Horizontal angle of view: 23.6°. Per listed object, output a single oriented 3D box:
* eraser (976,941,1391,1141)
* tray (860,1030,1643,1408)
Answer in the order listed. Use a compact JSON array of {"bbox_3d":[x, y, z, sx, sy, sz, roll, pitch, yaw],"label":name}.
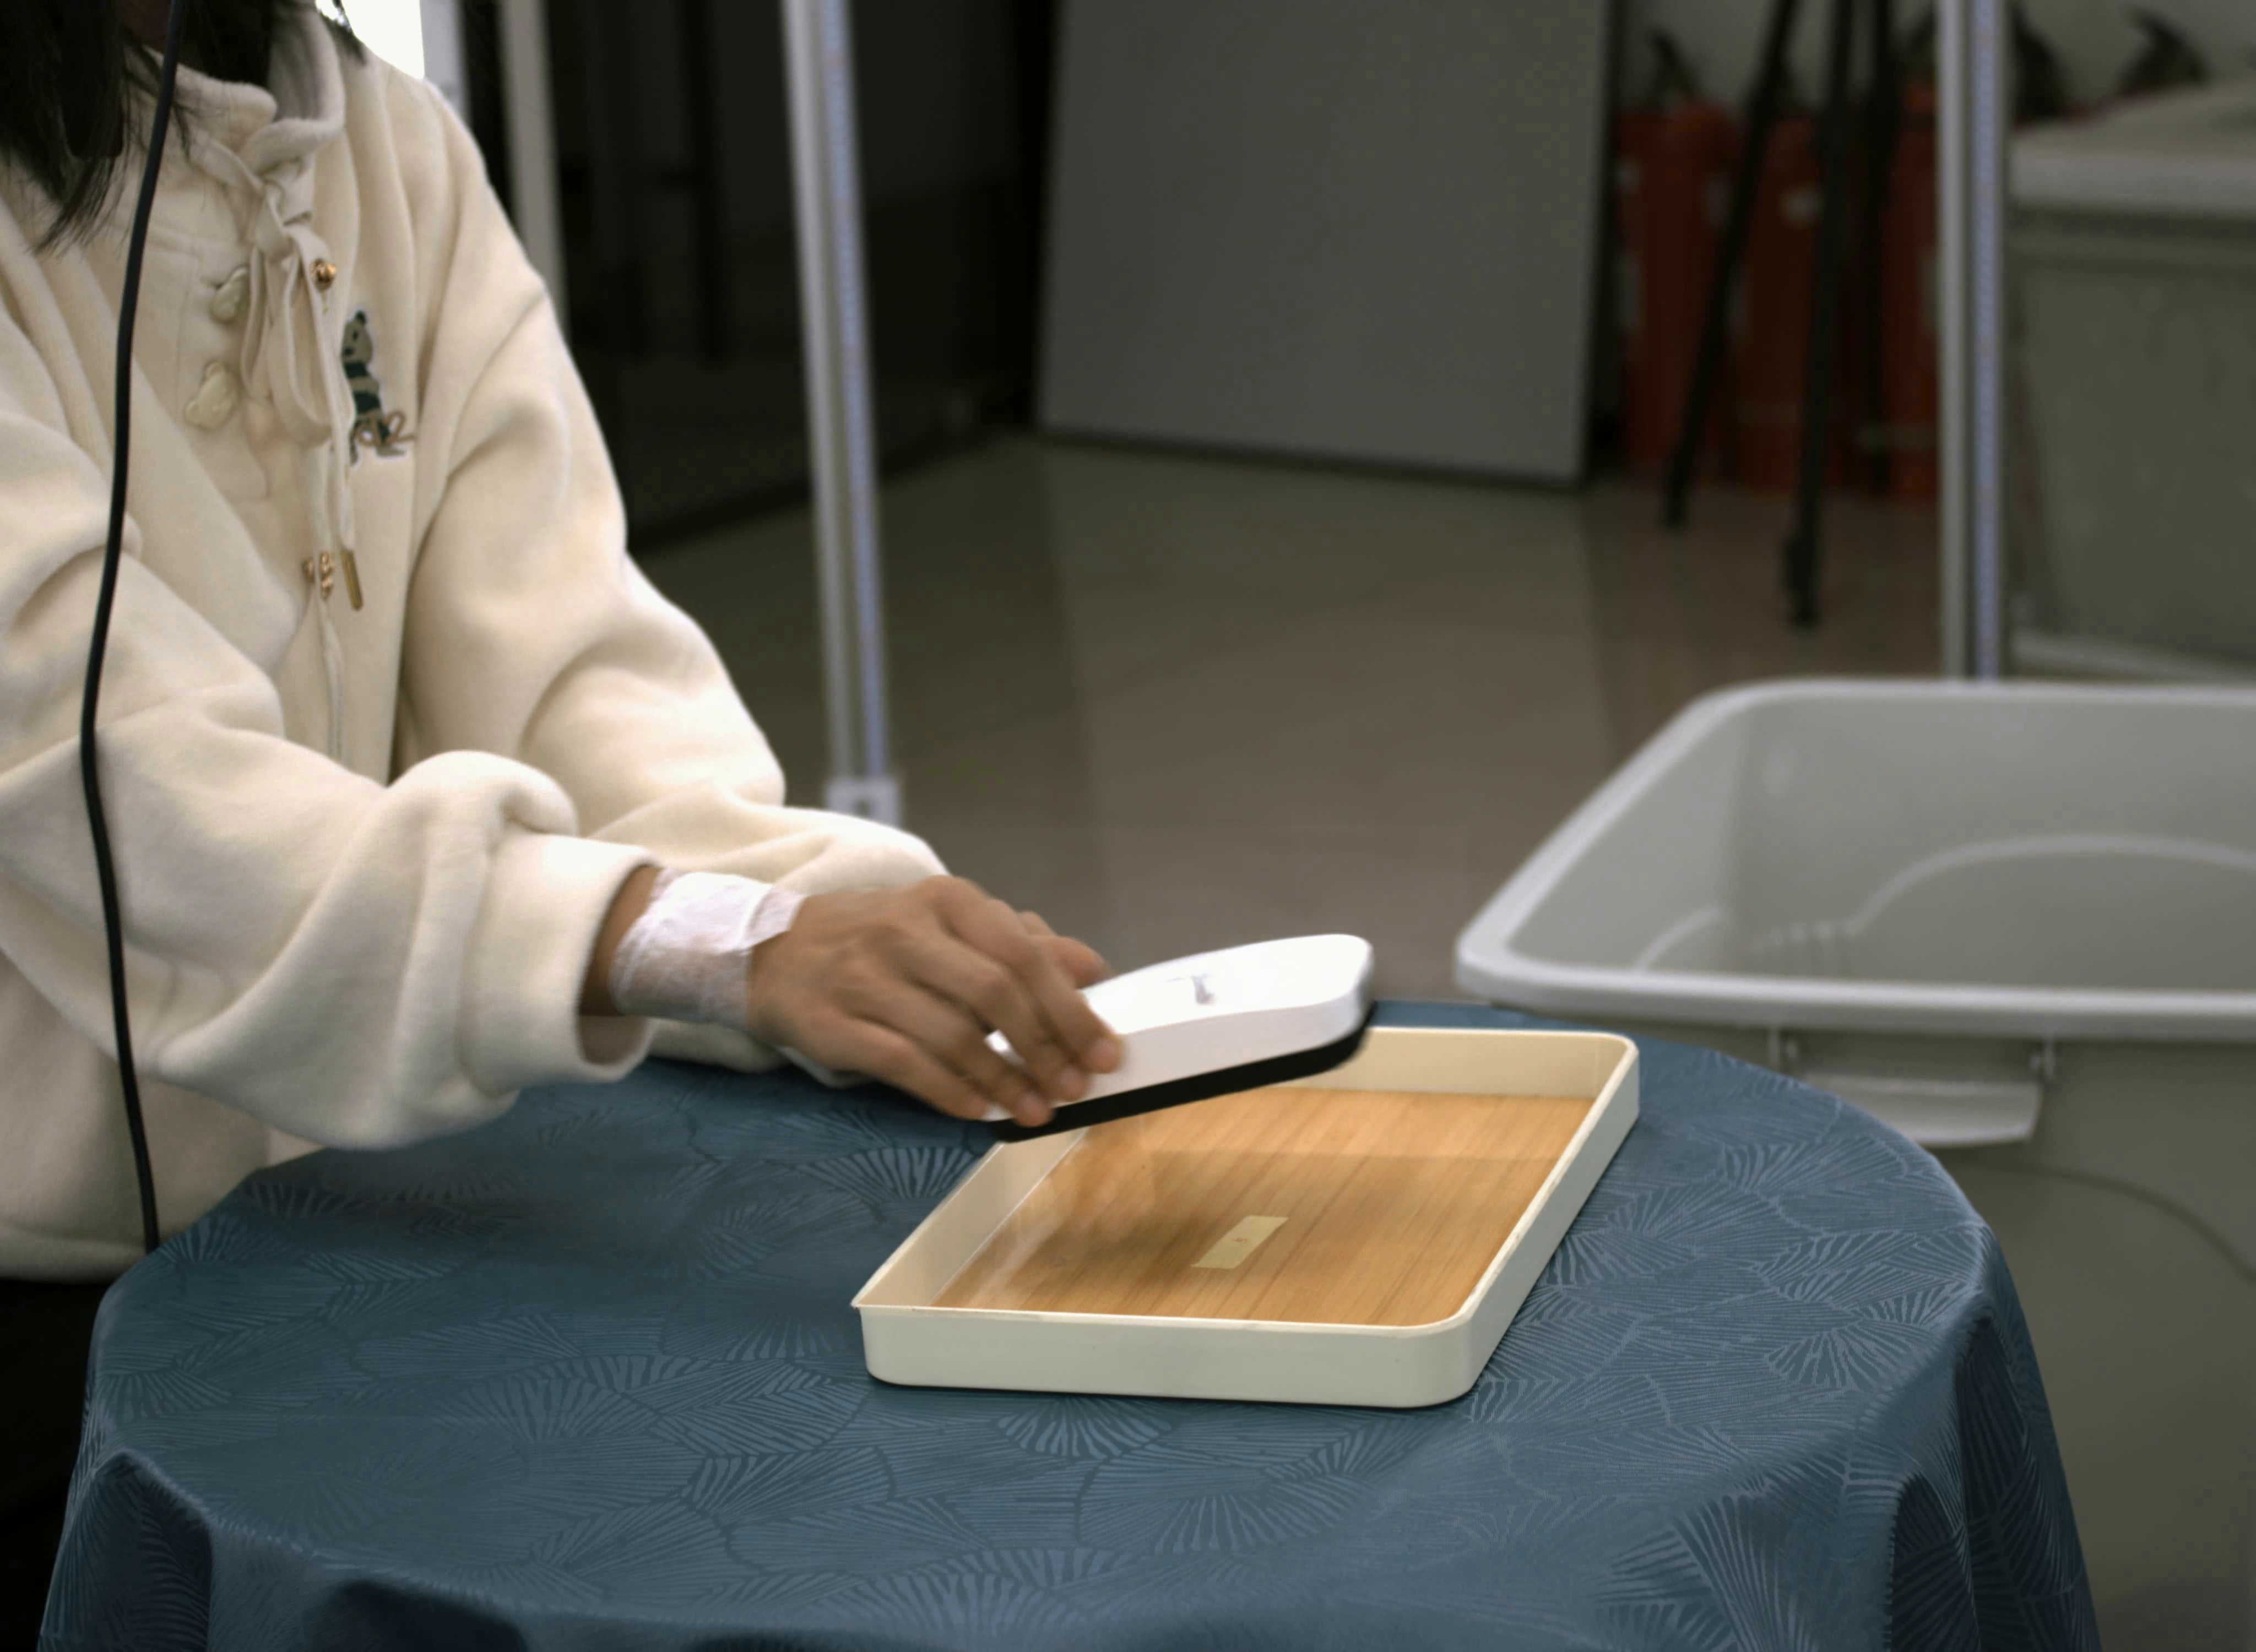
[{"bbox_3d":[0.018,0.064,1.697,0.131,0.035,0.063,-12,17,18],"label":"eraser"},{"bbox_3d":[0.047,0.119,1.708,0.191,0.028,0.298,0,15,17],"label":"tray"}]
